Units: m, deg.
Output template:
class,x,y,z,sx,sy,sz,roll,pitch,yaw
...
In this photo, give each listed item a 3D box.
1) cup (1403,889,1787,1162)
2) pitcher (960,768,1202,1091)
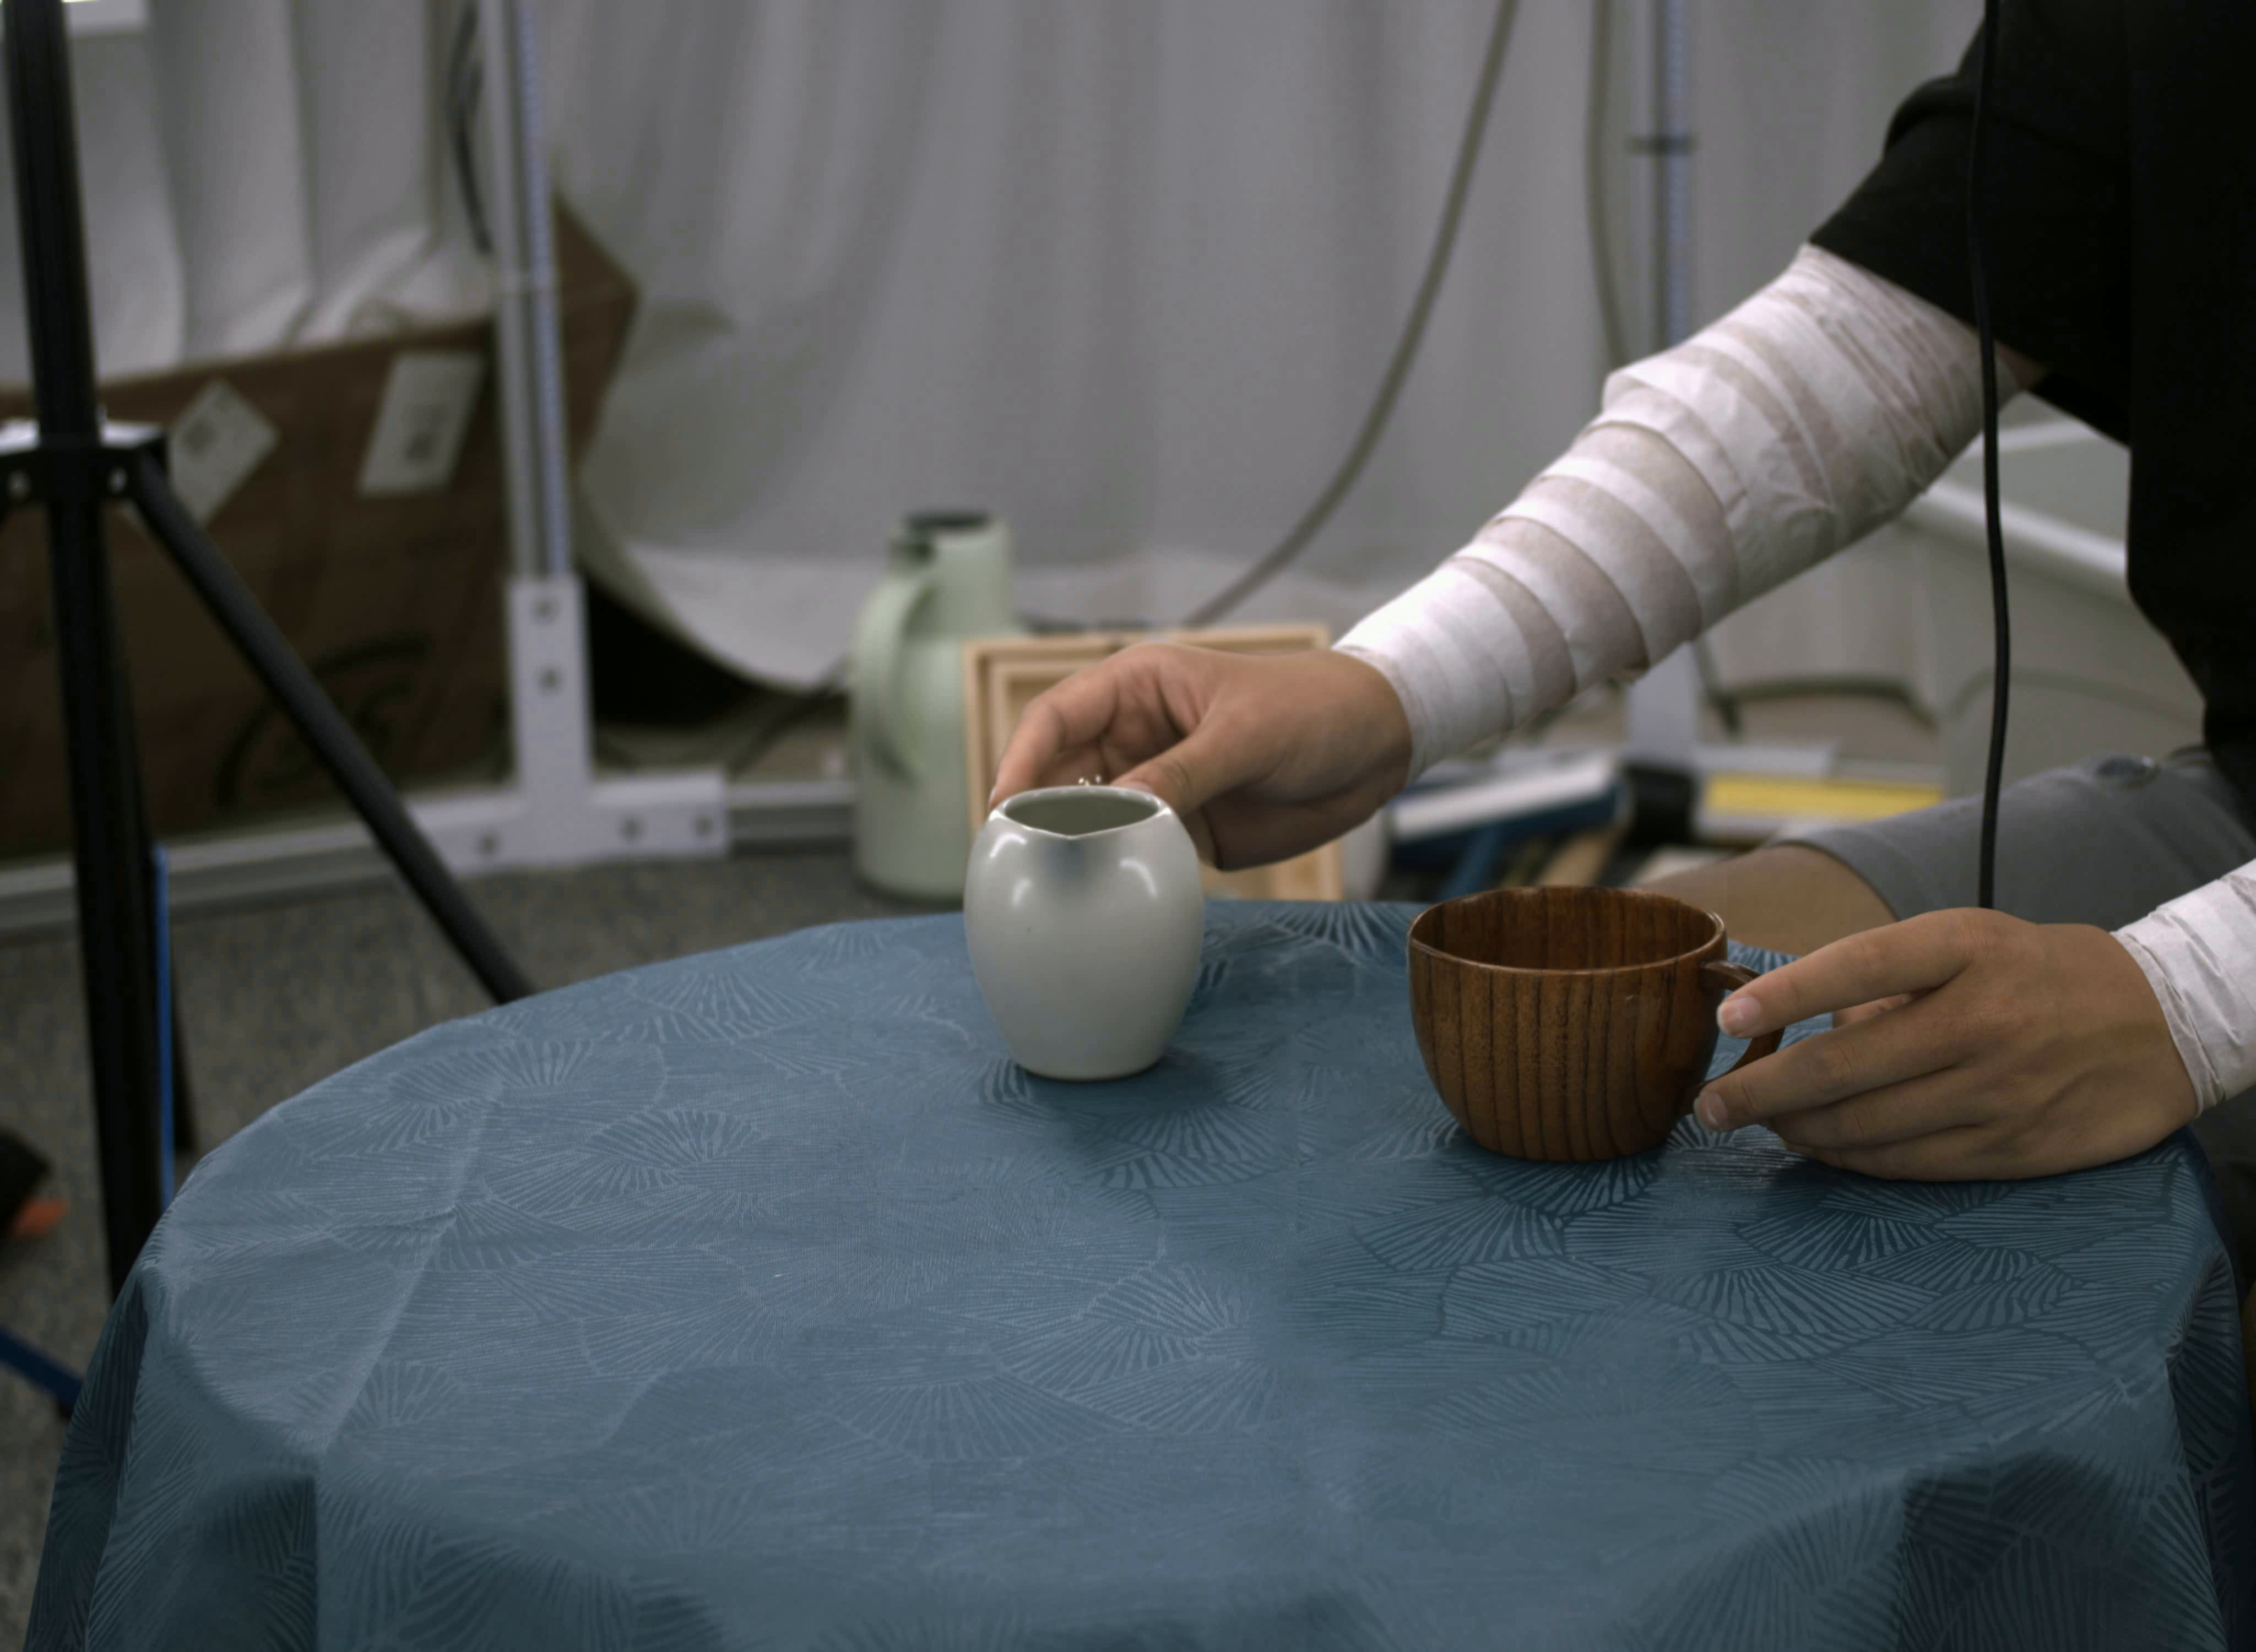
class,x,y,z,sx,sy,sz,roll,pitch,yaw
cup,0.139,0.063,1.579,0.122,0.068,0.094,9,16,32
pitcher,-0.014,0.032,1.668,0.076,0.088,0.119,6,20,7
